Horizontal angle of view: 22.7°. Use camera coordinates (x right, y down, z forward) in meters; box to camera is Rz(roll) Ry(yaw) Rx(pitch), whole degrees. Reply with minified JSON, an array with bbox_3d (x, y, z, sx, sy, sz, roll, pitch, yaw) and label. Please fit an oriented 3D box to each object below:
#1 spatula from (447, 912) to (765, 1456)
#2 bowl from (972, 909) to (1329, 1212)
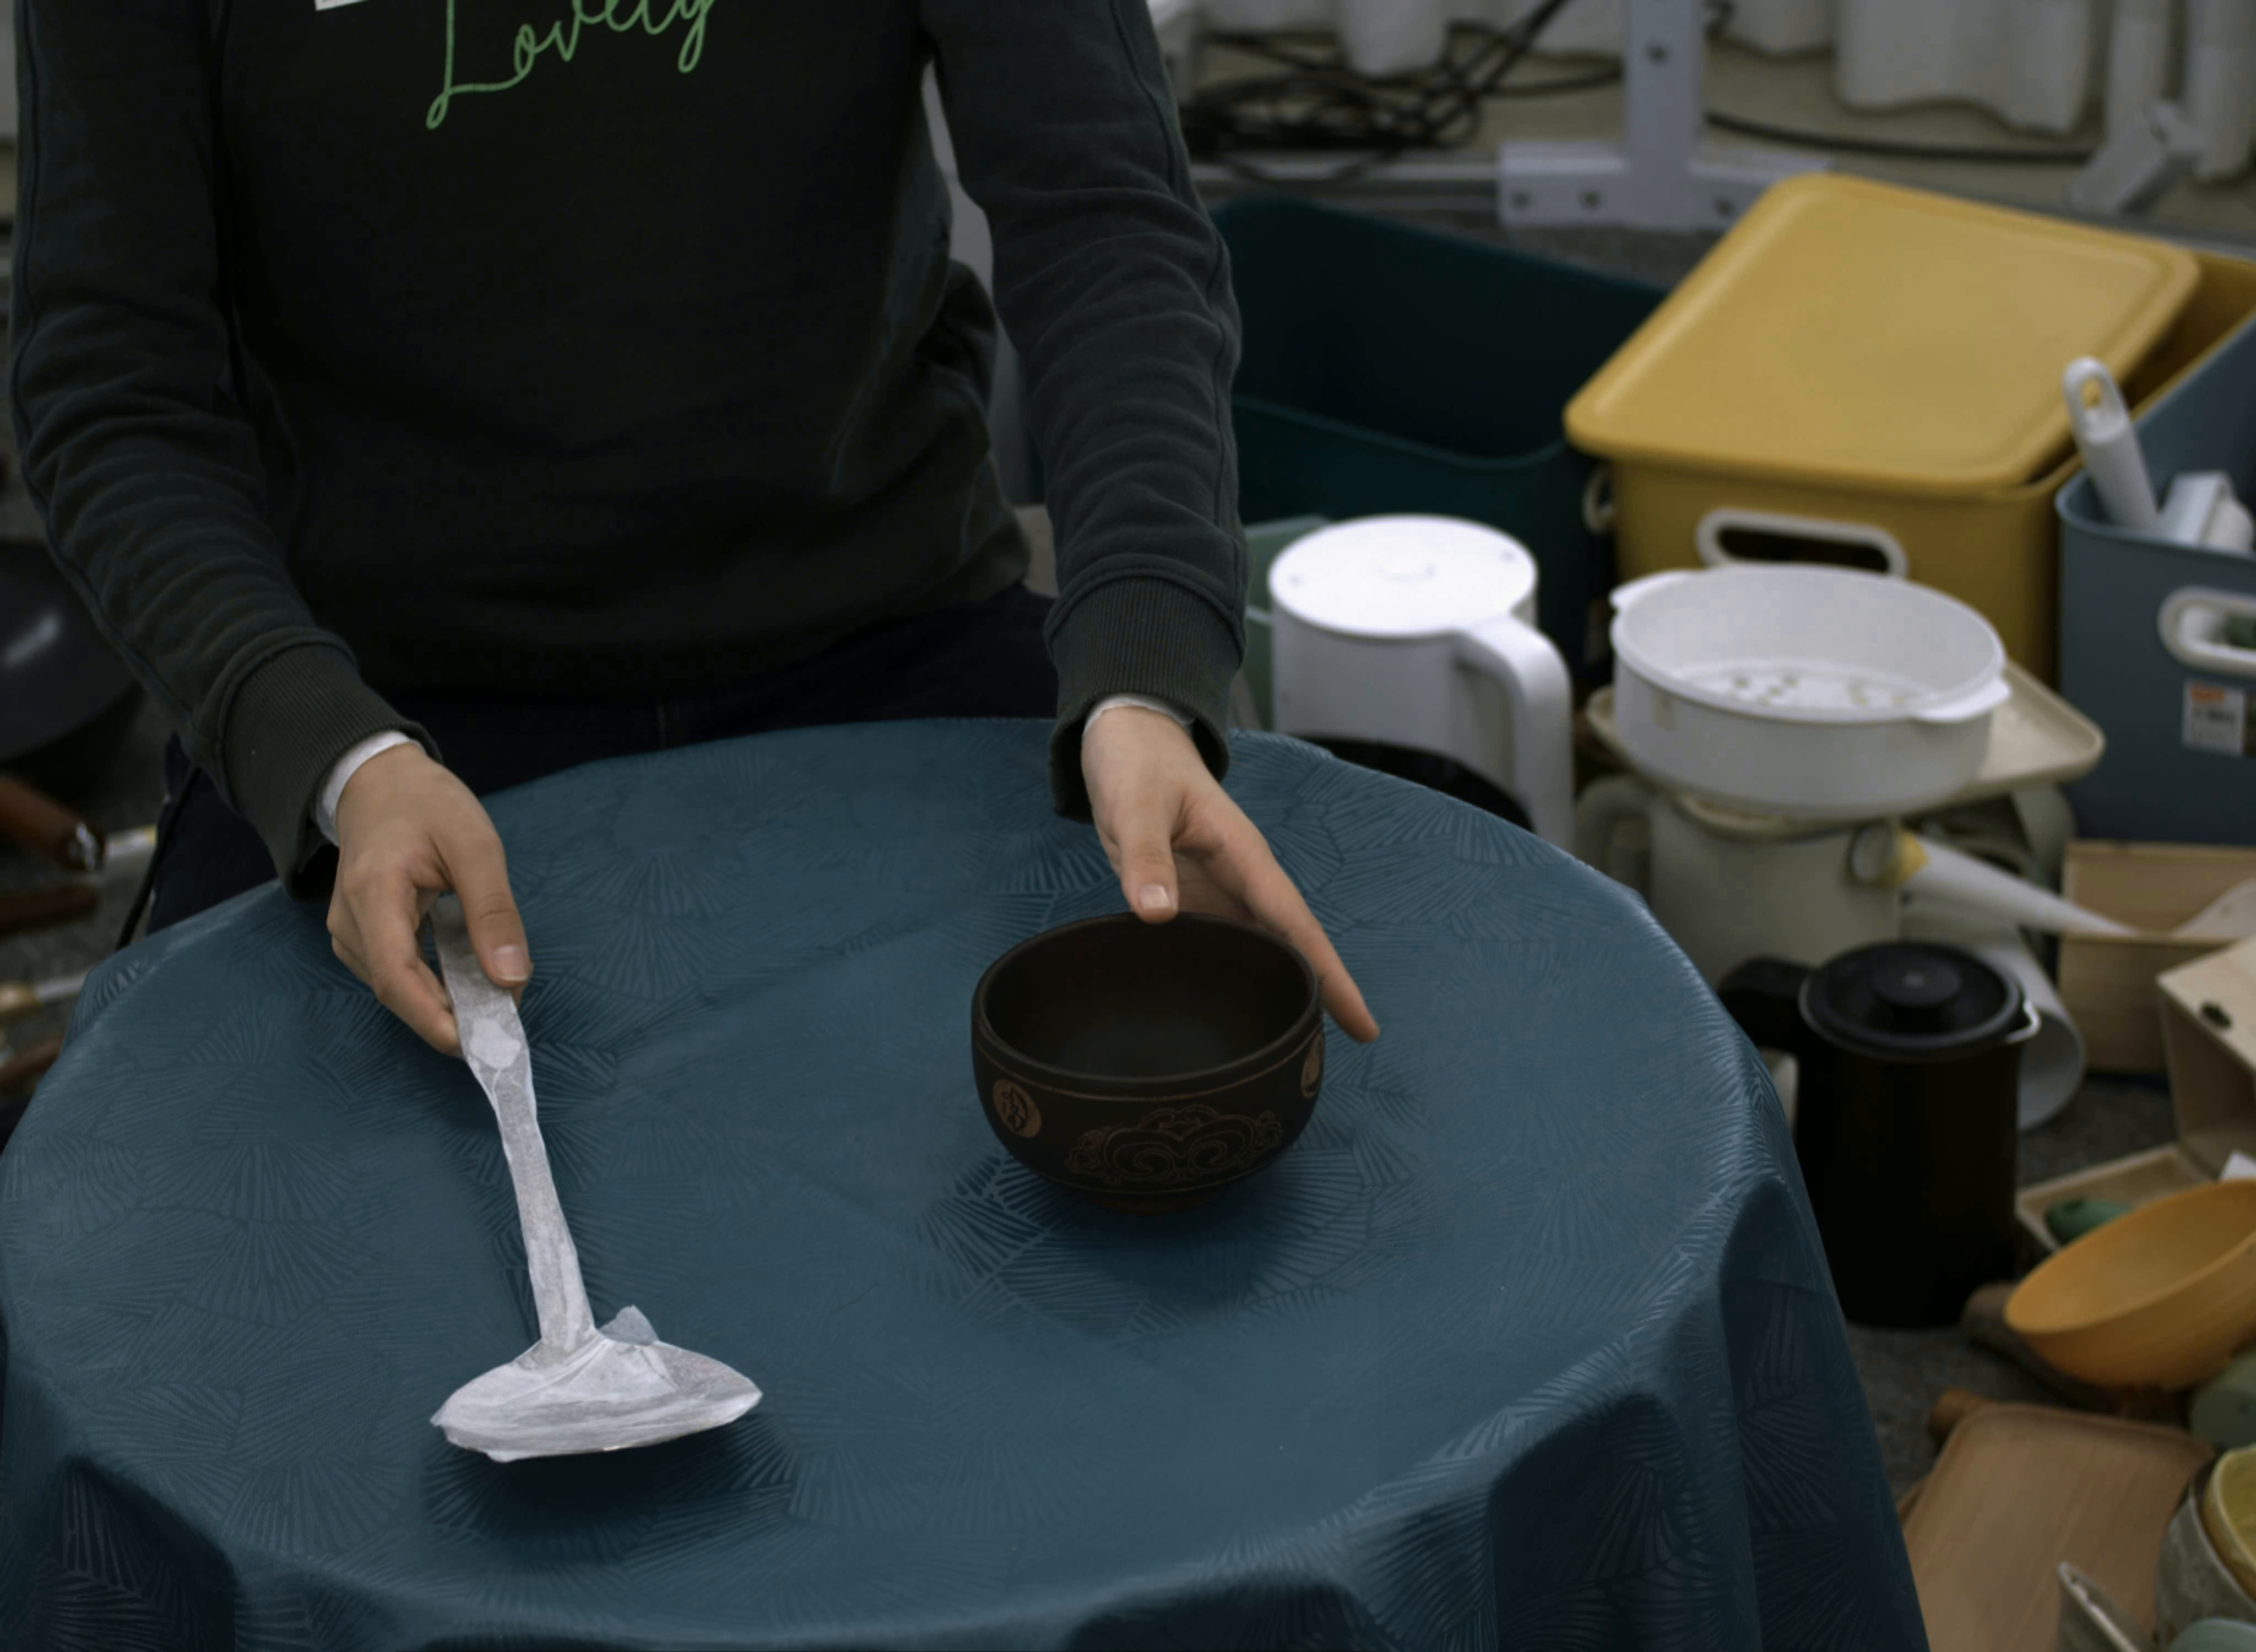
[{"bbox_3d":[-0.193,0.109,1.845,0.098,0.044,0.370,-8,33,-10],"label":"spatula"},{"bbox_3d":[0.008,0.084,1.856,0.117,0.069,0.120,-1,25,1],"label":"bowl"}]
